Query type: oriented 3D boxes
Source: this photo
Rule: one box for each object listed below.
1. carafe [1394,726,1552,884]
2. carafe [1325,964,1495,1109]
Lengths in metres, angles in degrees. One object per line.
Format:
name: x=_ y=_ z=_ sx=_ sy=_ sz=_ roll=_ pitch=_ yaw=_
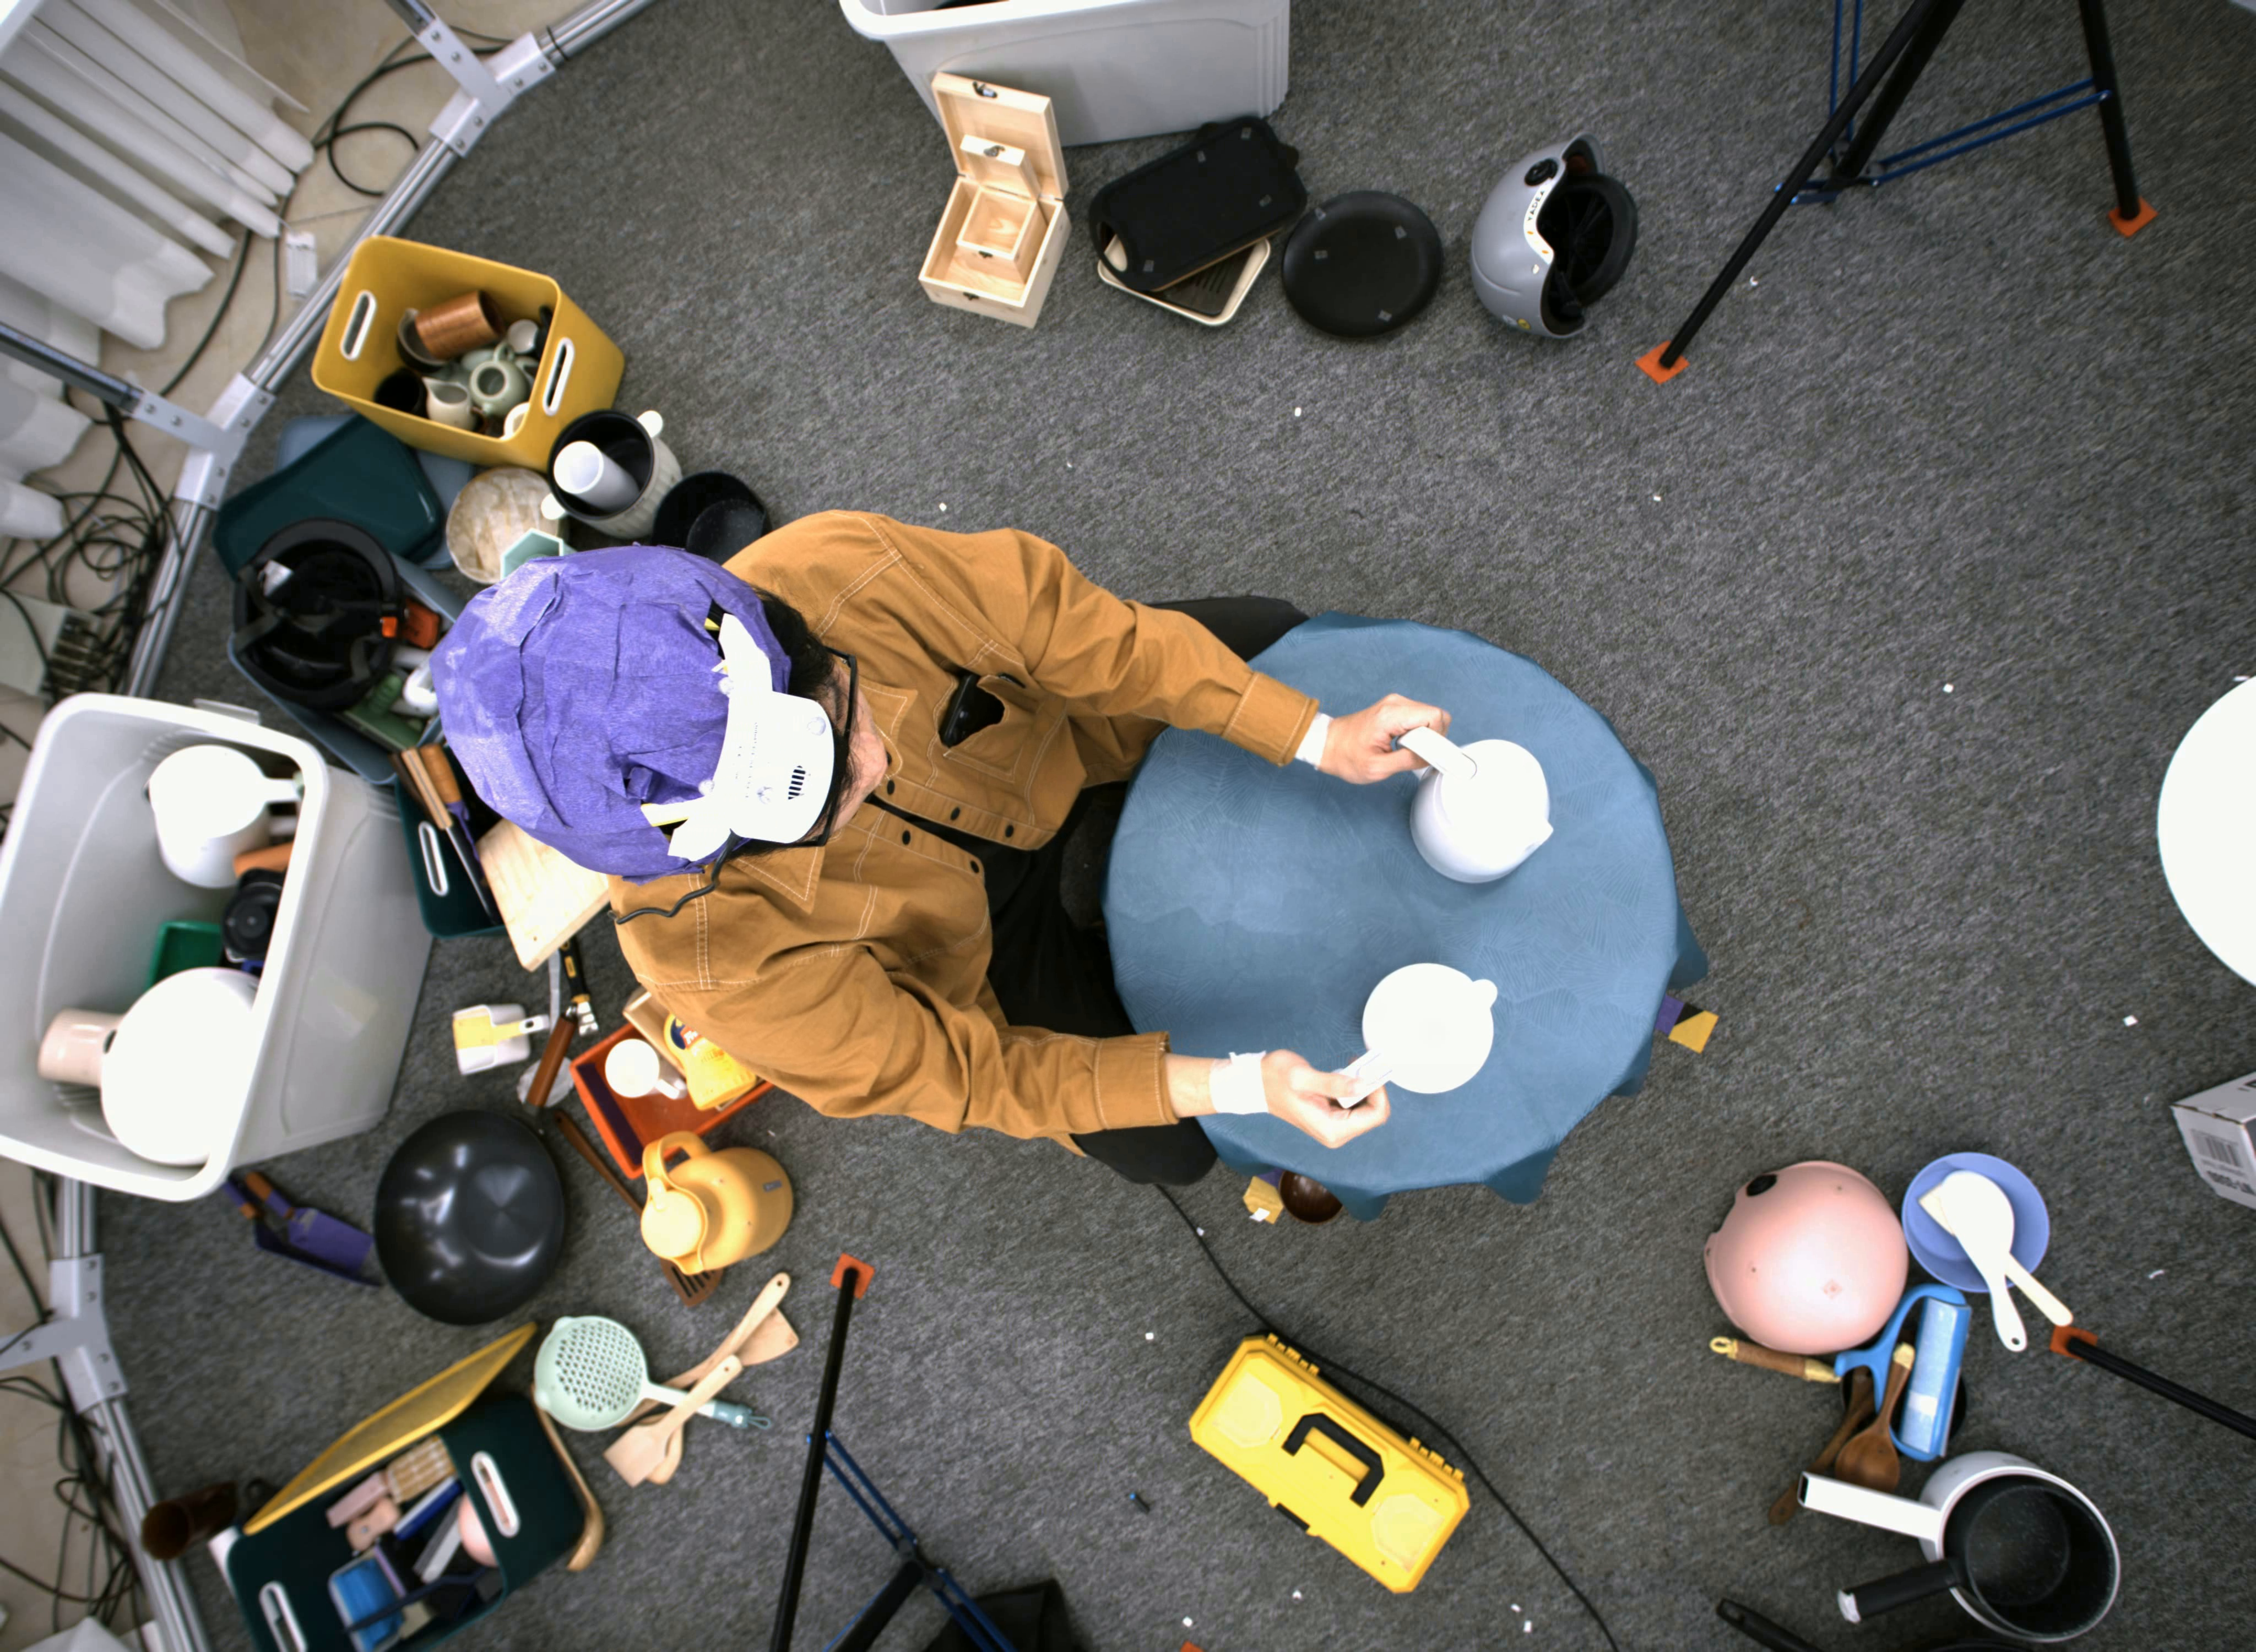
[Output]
carafe: x=0.327 y=-0.031 z=1.329 sx=0.167 sy=0.249 sz=0.133 roll=41 pitch=93 yaw=12
carafe: x=0.269 y=0.201 z=1.320 sx=0.174 sy=0.269 sz=0.123 roll=-37 pitch=82 yaw=6
